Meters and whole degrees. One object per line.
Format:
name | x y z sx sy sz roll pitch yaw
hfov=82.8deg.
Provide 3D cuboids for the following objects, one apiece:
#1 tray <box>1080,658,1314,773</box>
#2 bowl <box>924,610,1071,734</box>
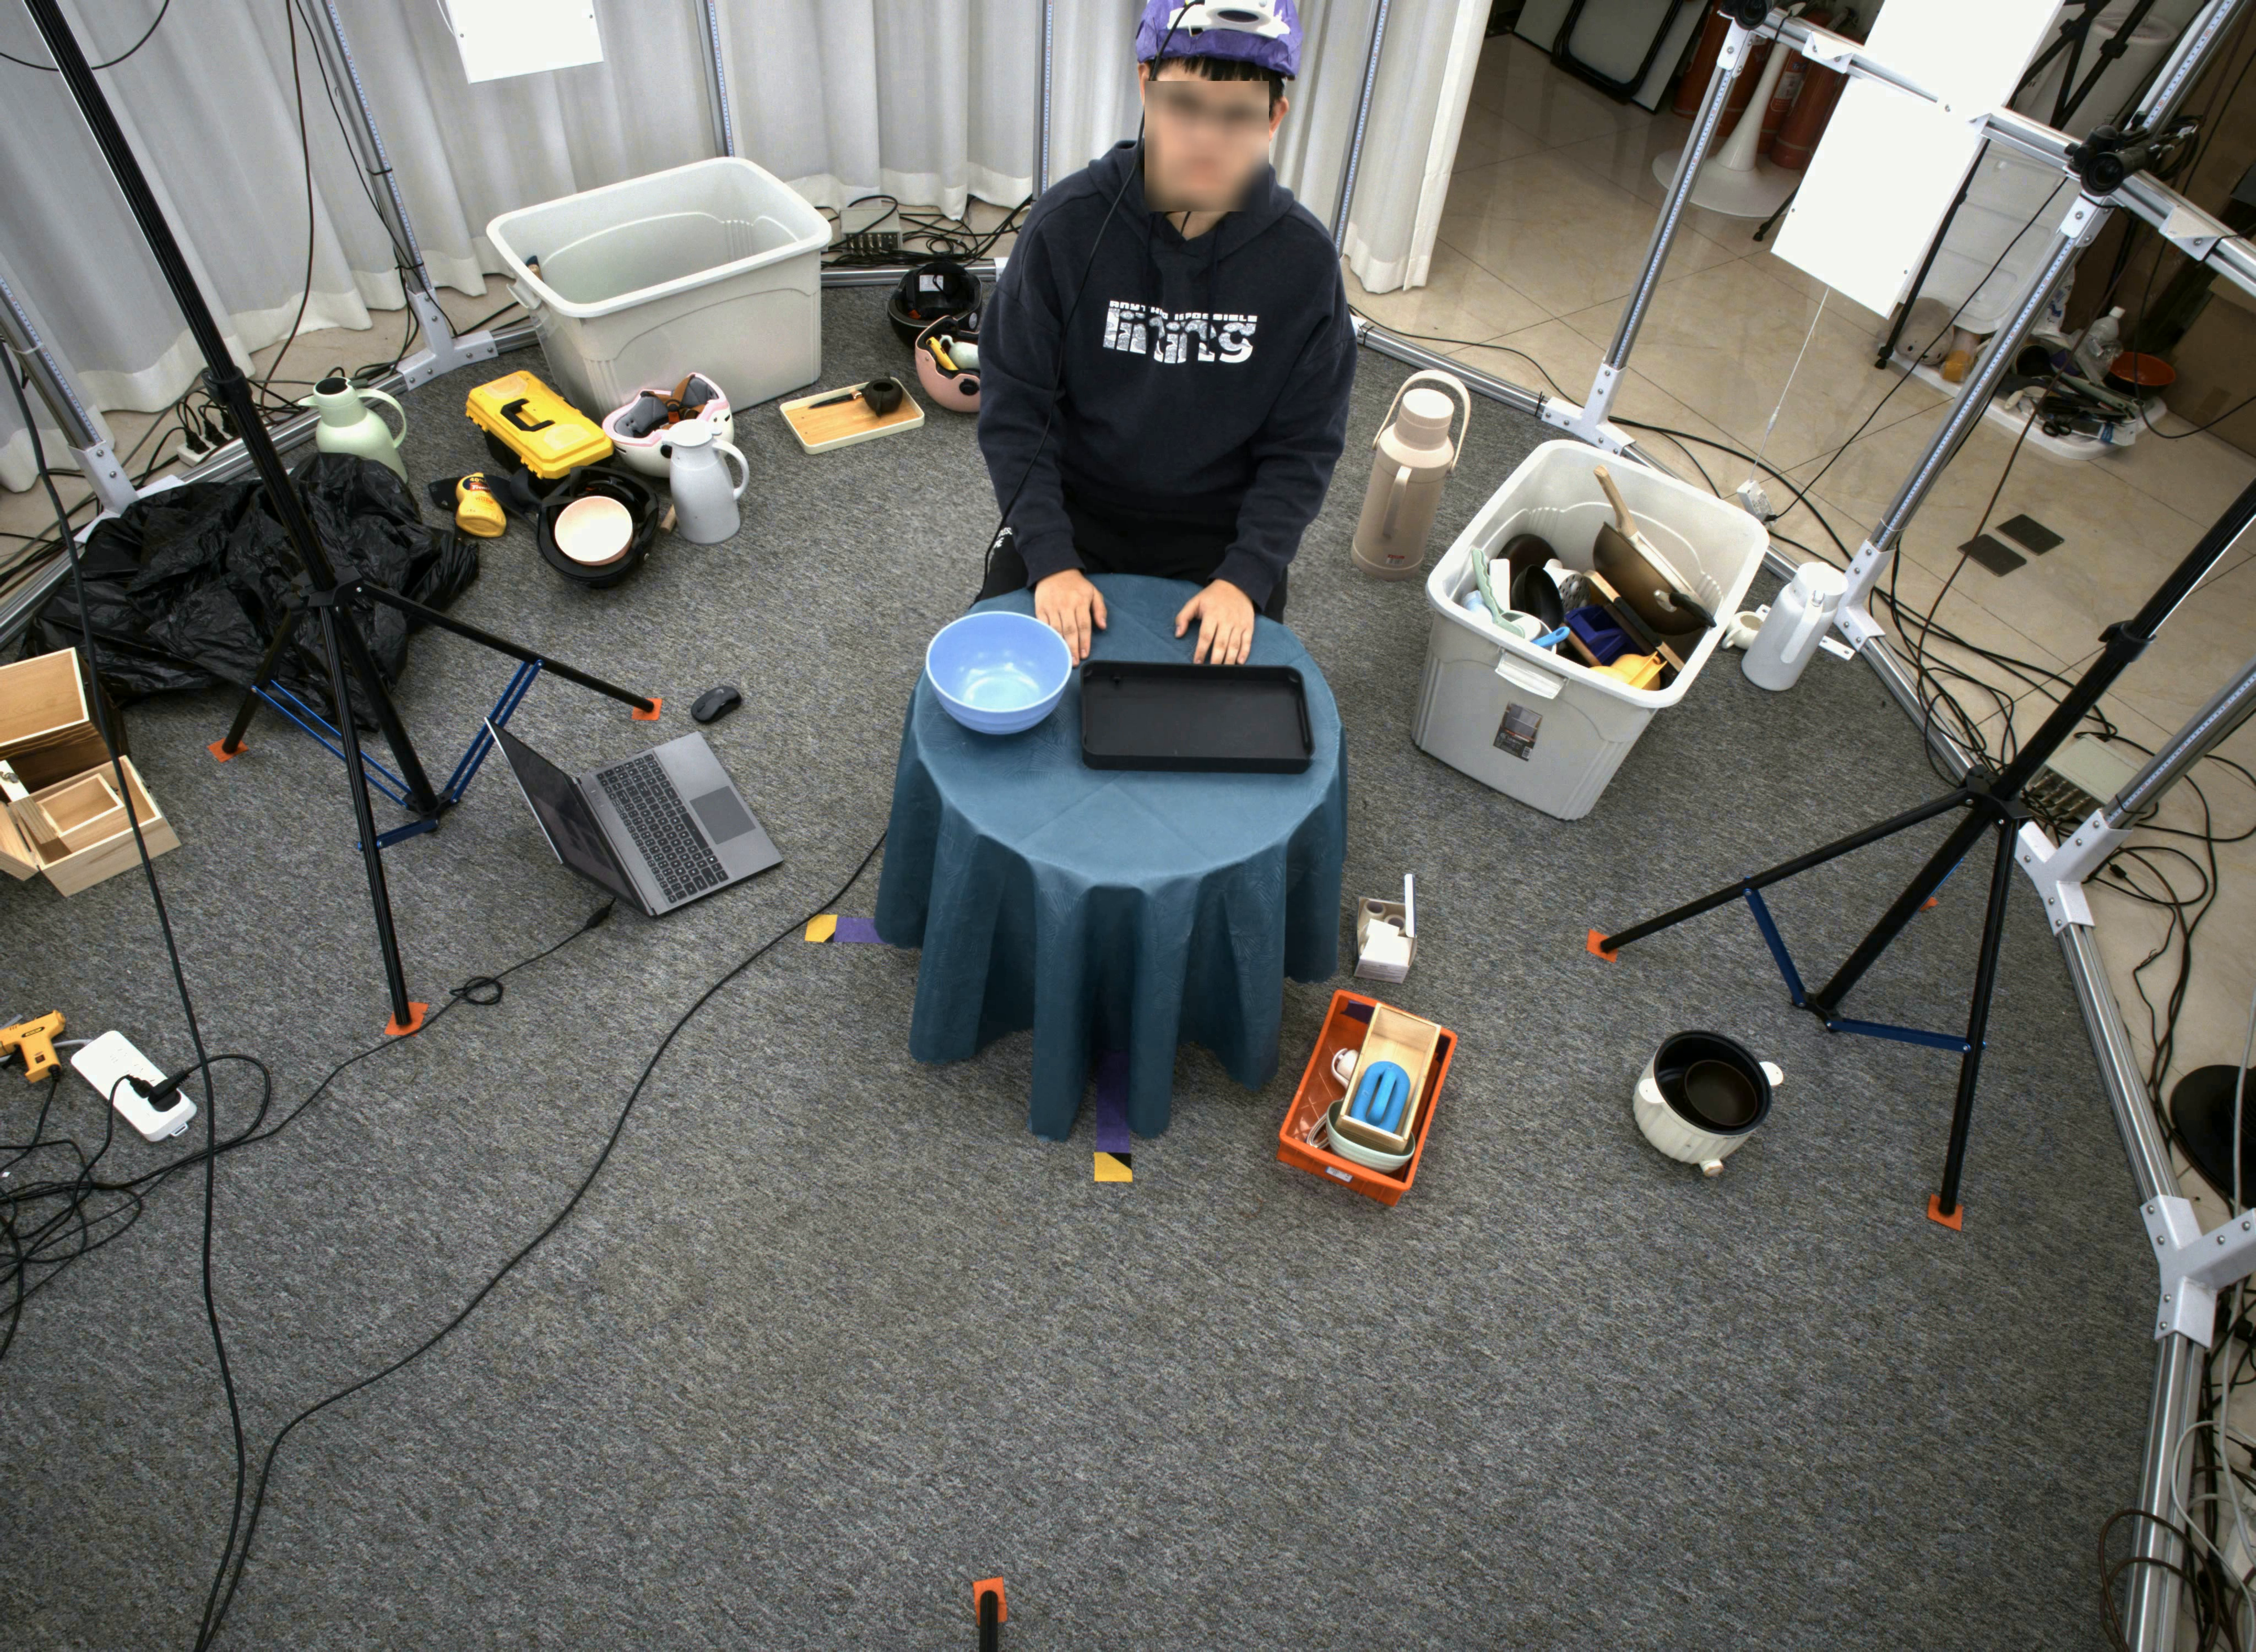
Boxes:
tray | 0.091 -0.154 1.781 0.317 0.036 0.189 1 49 -4
bowl | -0.176 -0.196 1.758 0.196 0.093 0.201 1 50 -1
